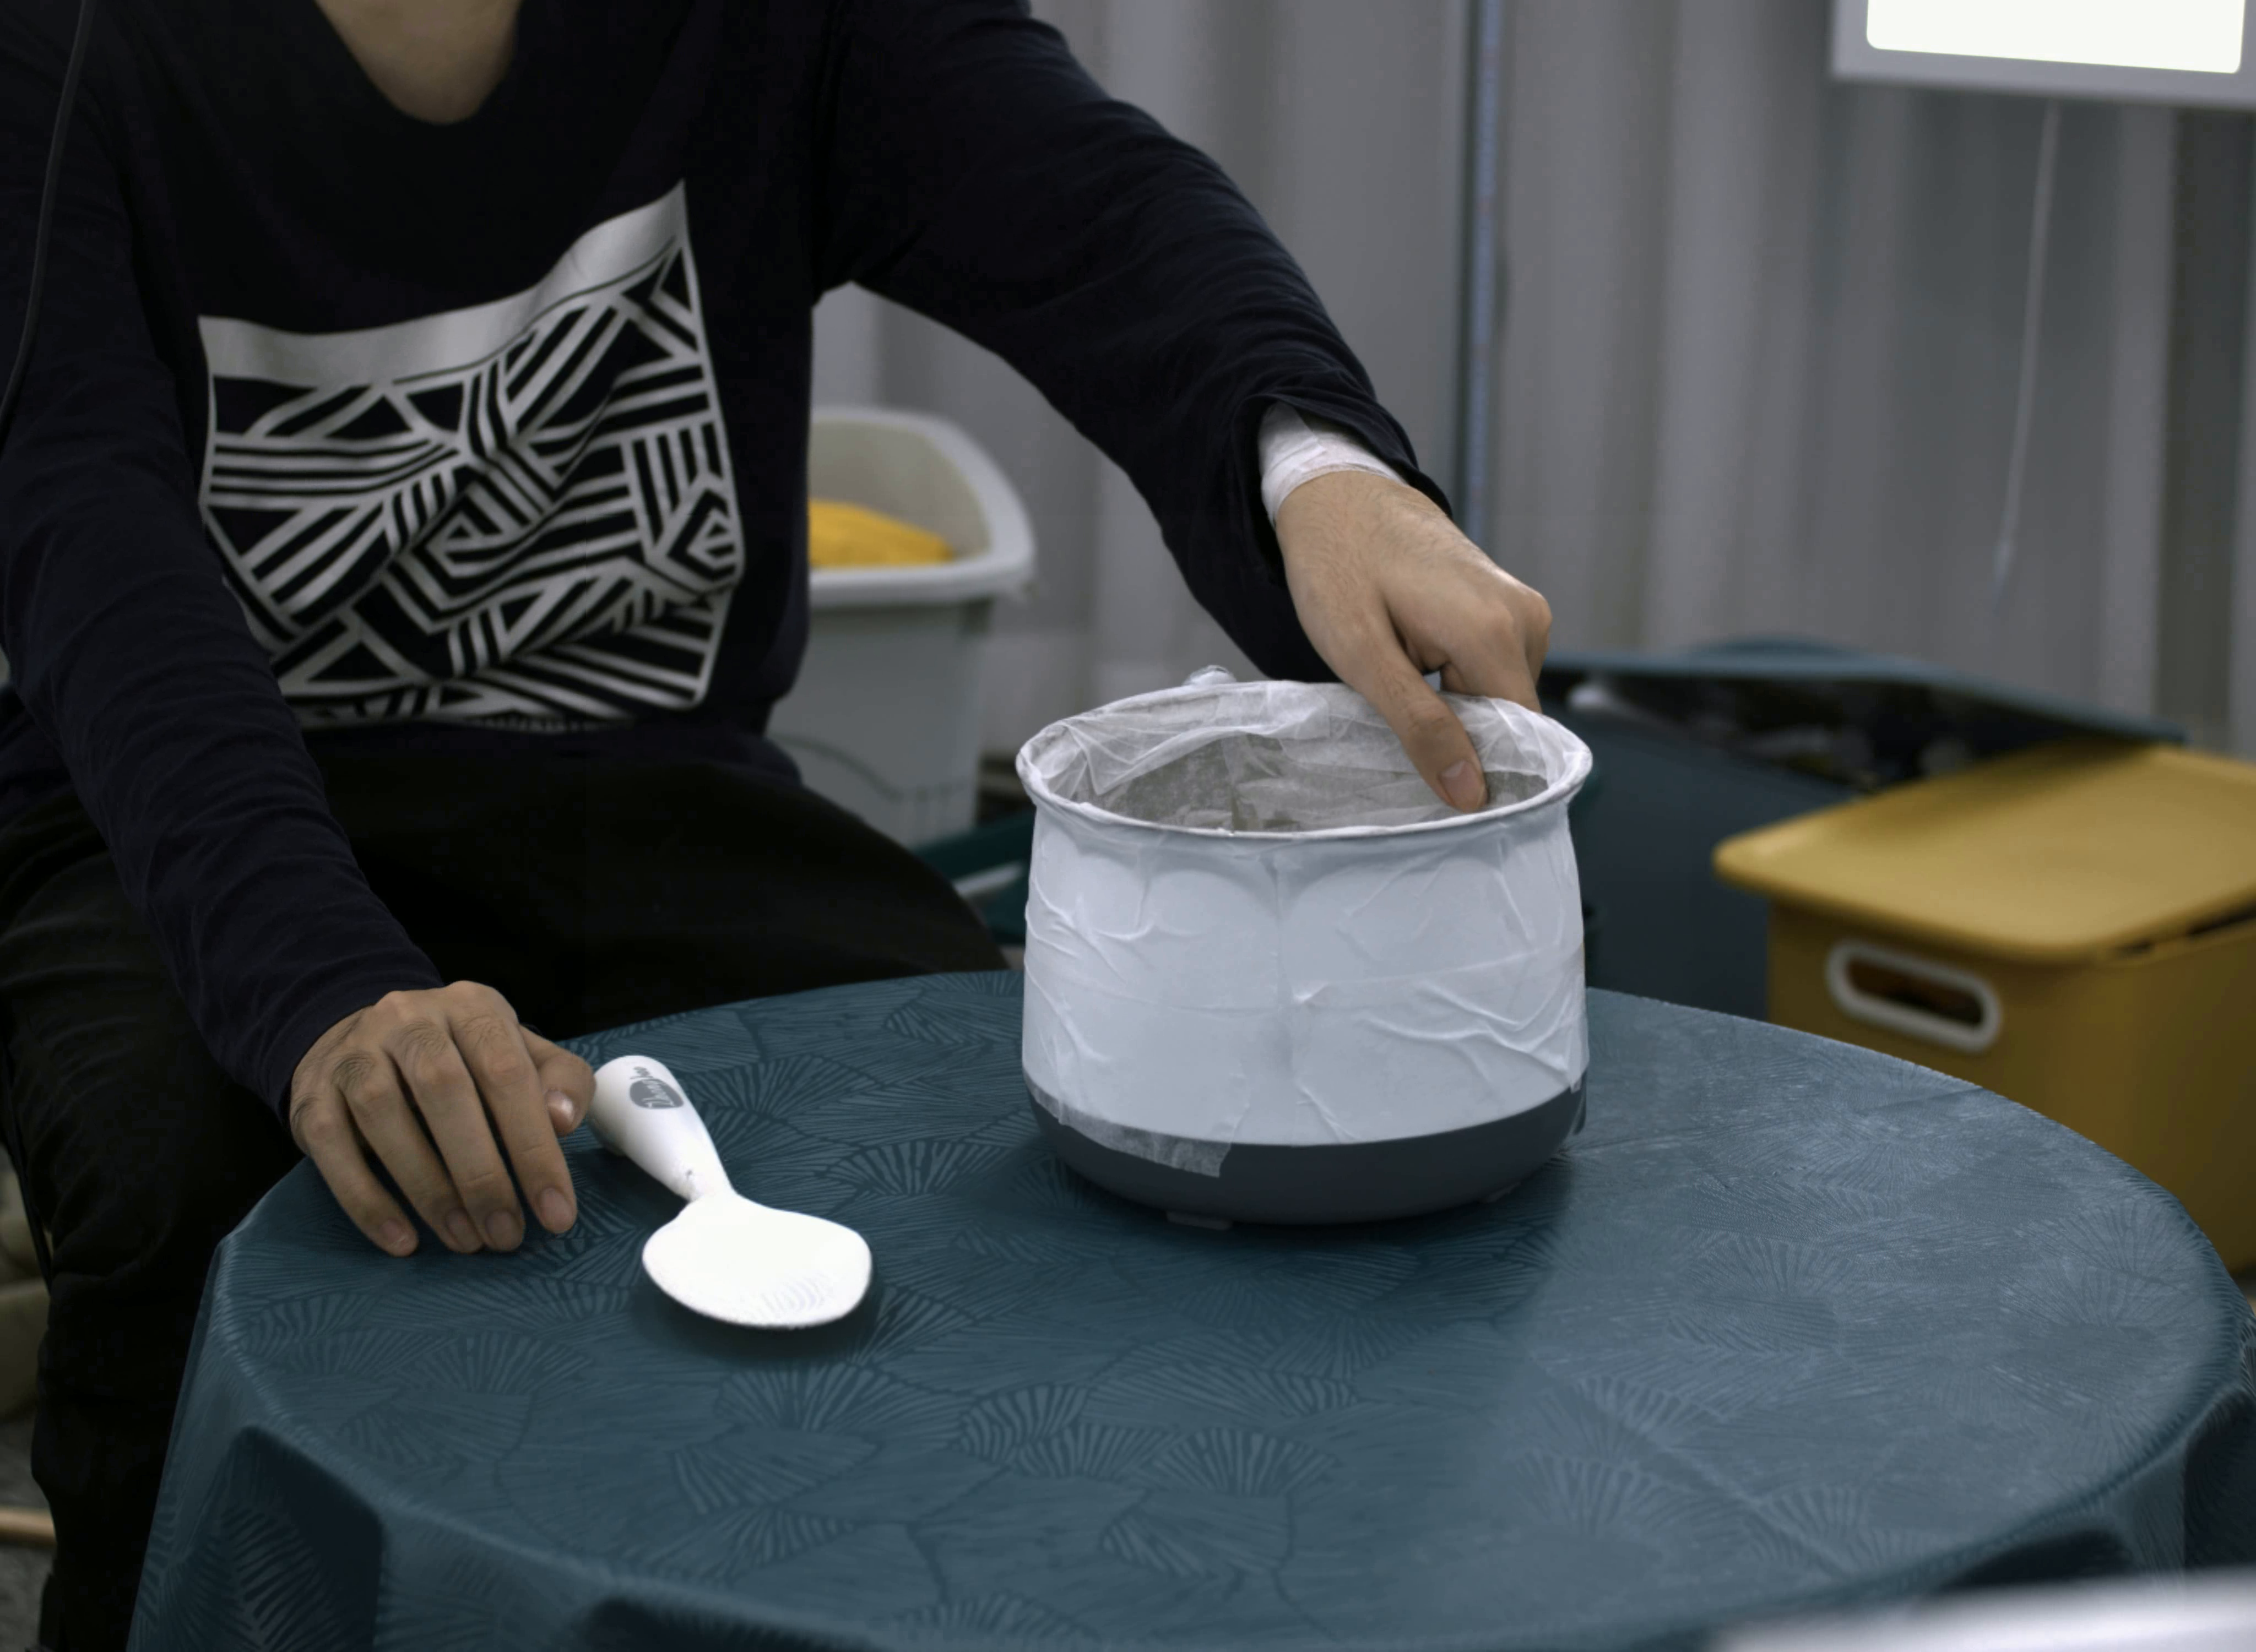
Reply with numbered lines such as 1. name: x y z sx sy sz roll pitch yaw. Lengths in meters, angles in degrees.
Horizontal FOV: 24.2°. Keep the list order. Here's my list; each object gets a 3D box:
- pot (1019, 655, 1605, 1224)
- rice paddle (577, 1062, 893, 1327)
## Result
1. pot: 0.047 0.030 1.655 0.179 0.138 0.231 -3 17 -17
2. rice paddle: -0.123 0.112 1.569 0.069 0.029 0.203 -7 16 -19
